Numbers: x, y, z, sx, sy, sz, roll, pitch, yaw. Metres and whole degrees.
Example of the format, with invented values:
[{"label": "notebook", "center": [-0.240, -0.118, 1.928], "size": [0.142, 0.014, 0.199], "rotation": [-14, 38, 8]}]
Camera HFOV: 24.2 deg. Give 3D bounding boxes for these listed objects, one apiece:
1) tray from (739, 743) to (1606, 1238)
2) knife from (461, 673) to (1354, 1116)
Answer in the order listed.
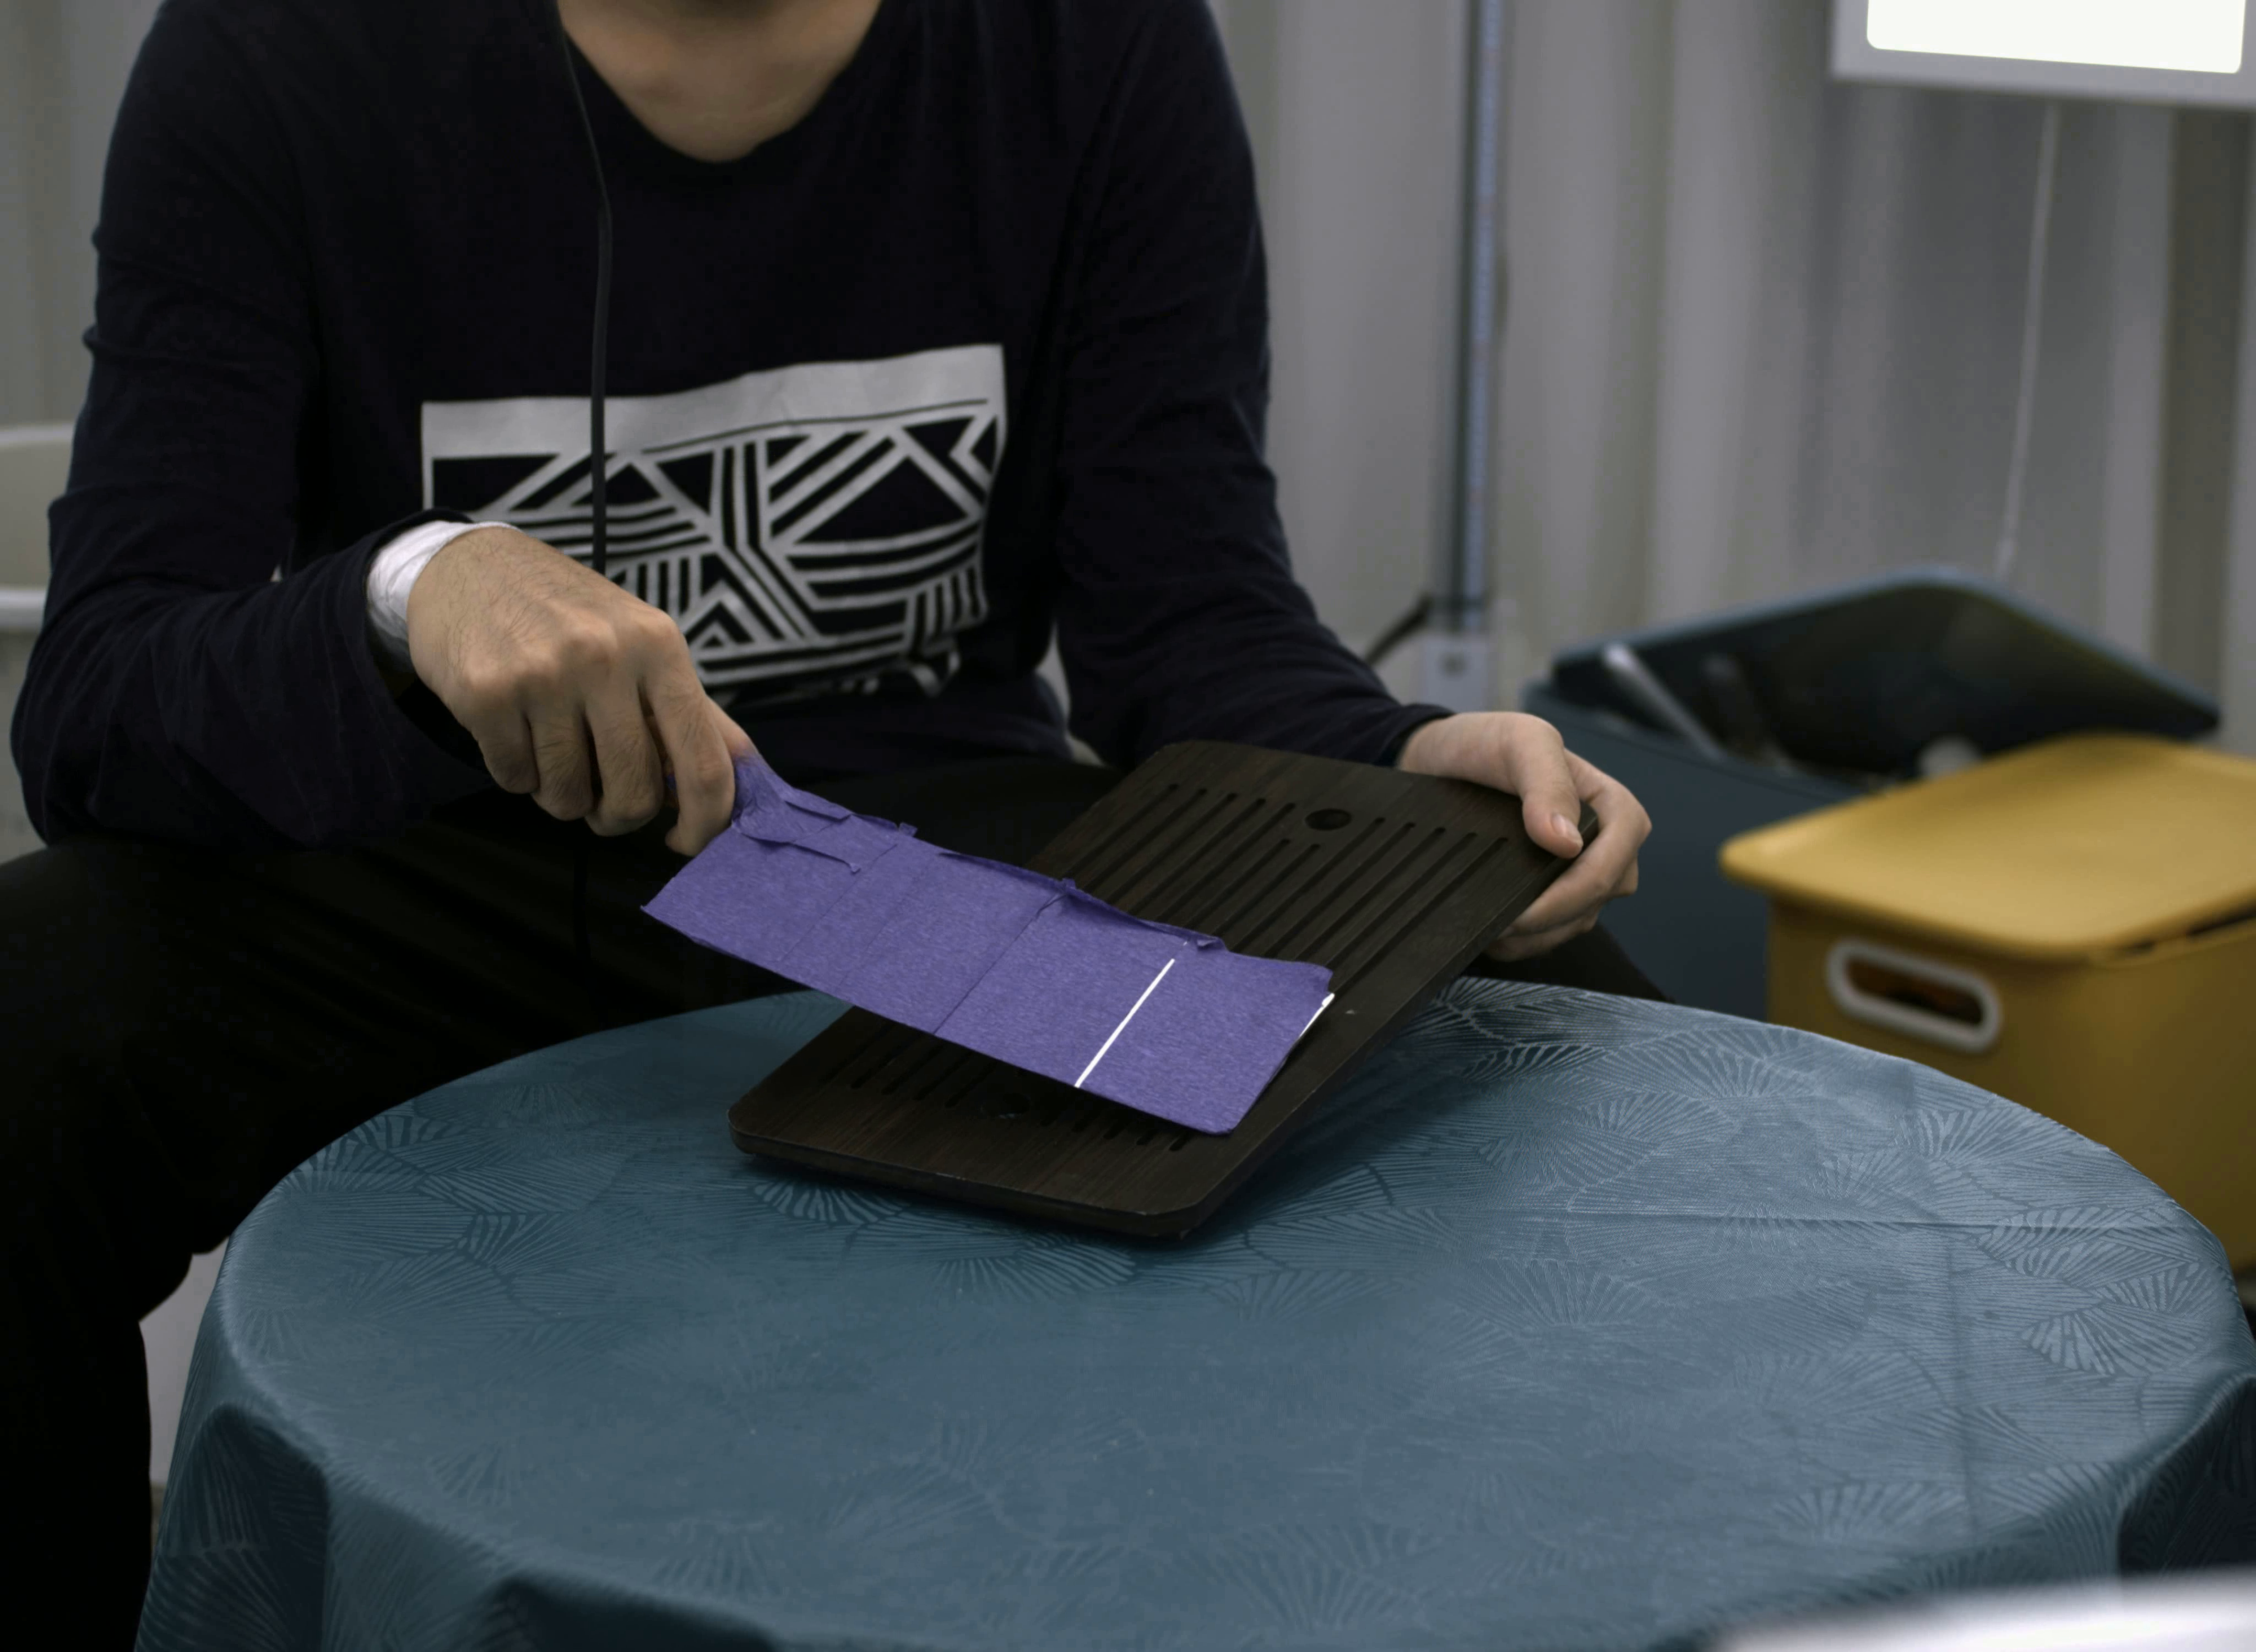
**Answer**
[{"label": "tray", "center": [0.021, 0.050, 1.717], "size": [0.168, 0.019, 0.306], "rotation": [9, 29, 28]}, {"label": "knife", "center": [-0.088, 0.020, 1.680], "size": [0.312, 0.032, 0.103], "rotation": [17, 35, 18]}]
